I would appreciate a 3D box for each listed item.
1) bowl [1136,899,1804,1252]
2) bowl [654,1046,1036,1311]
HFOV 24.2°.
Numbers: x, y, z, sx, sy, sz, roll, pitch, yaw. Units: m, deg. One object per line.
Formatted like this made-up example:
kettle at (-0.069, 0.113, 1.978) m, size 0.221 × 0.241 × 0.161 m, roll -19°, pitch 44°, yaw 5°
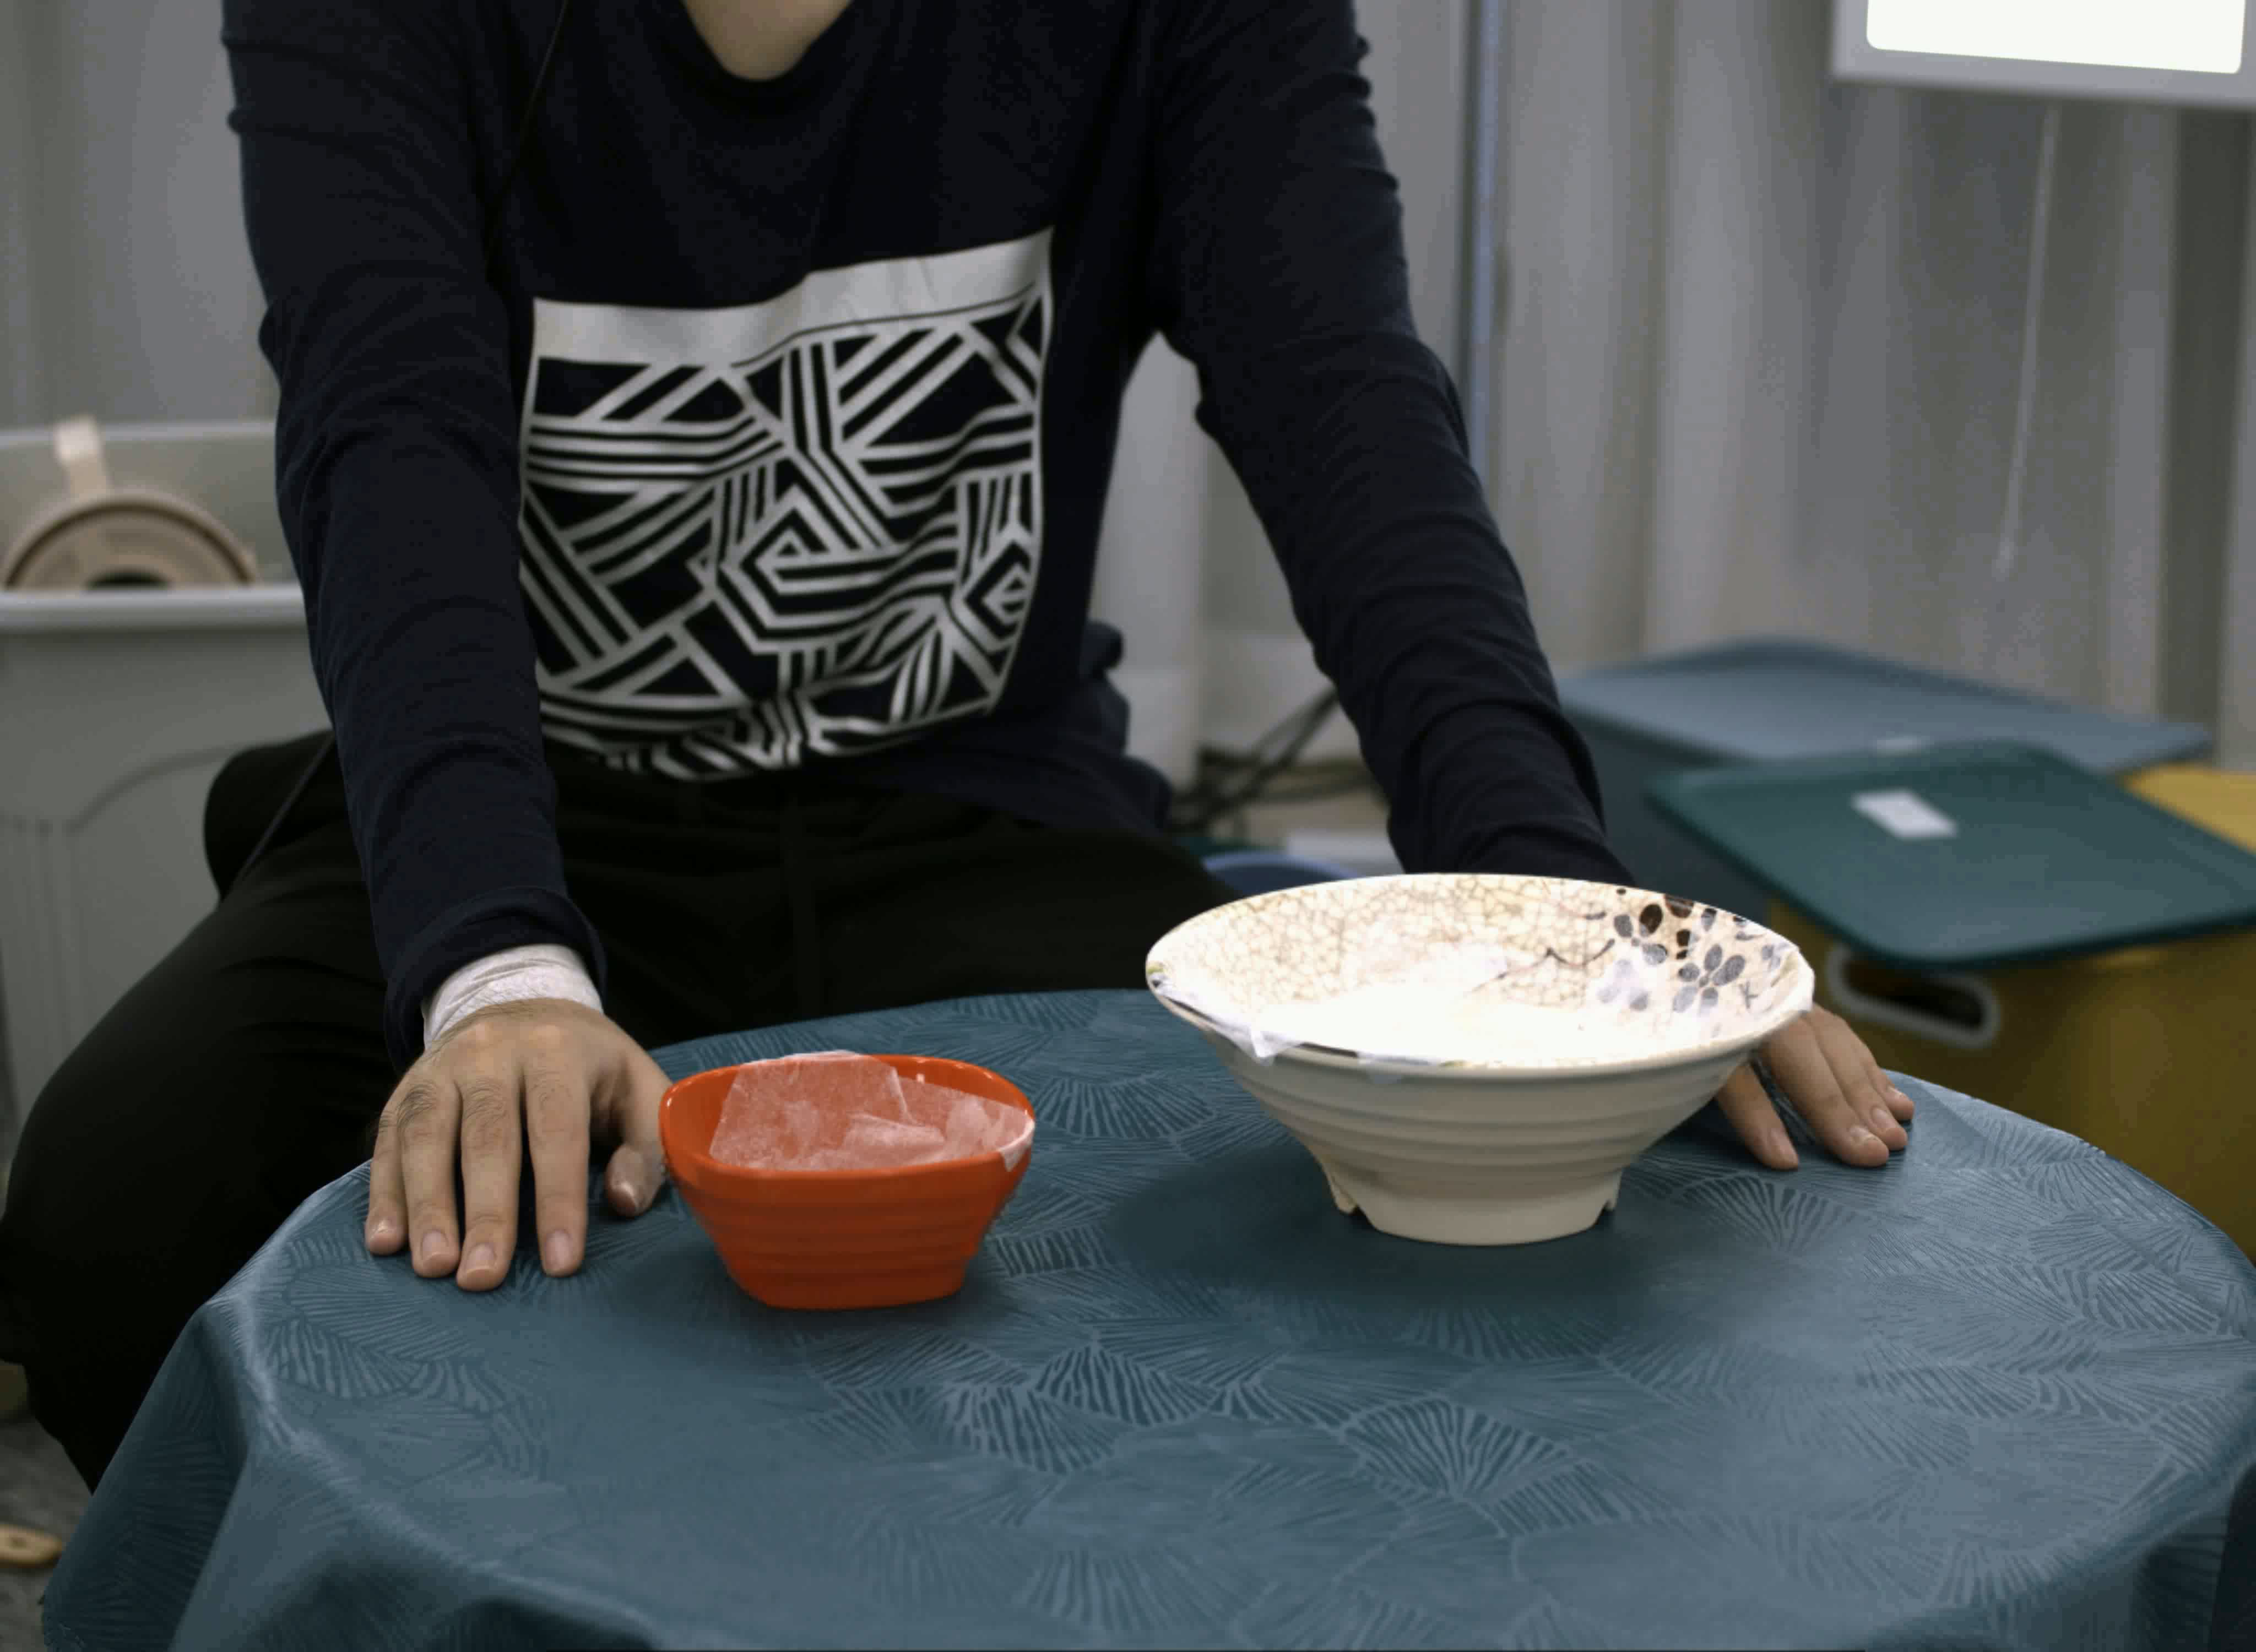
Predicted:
bowl at (0.102, 0.081, 1.606) m, size 0.203 × 0.078 × 0.203 m, roll 2°, pitch 11°, yaw 0°
bowl at (-0.083, 0.106, 1.547) m, size 0.118 × 0.052 × 0.118 m, roll -1°, pitch 17°, yaw 1°
